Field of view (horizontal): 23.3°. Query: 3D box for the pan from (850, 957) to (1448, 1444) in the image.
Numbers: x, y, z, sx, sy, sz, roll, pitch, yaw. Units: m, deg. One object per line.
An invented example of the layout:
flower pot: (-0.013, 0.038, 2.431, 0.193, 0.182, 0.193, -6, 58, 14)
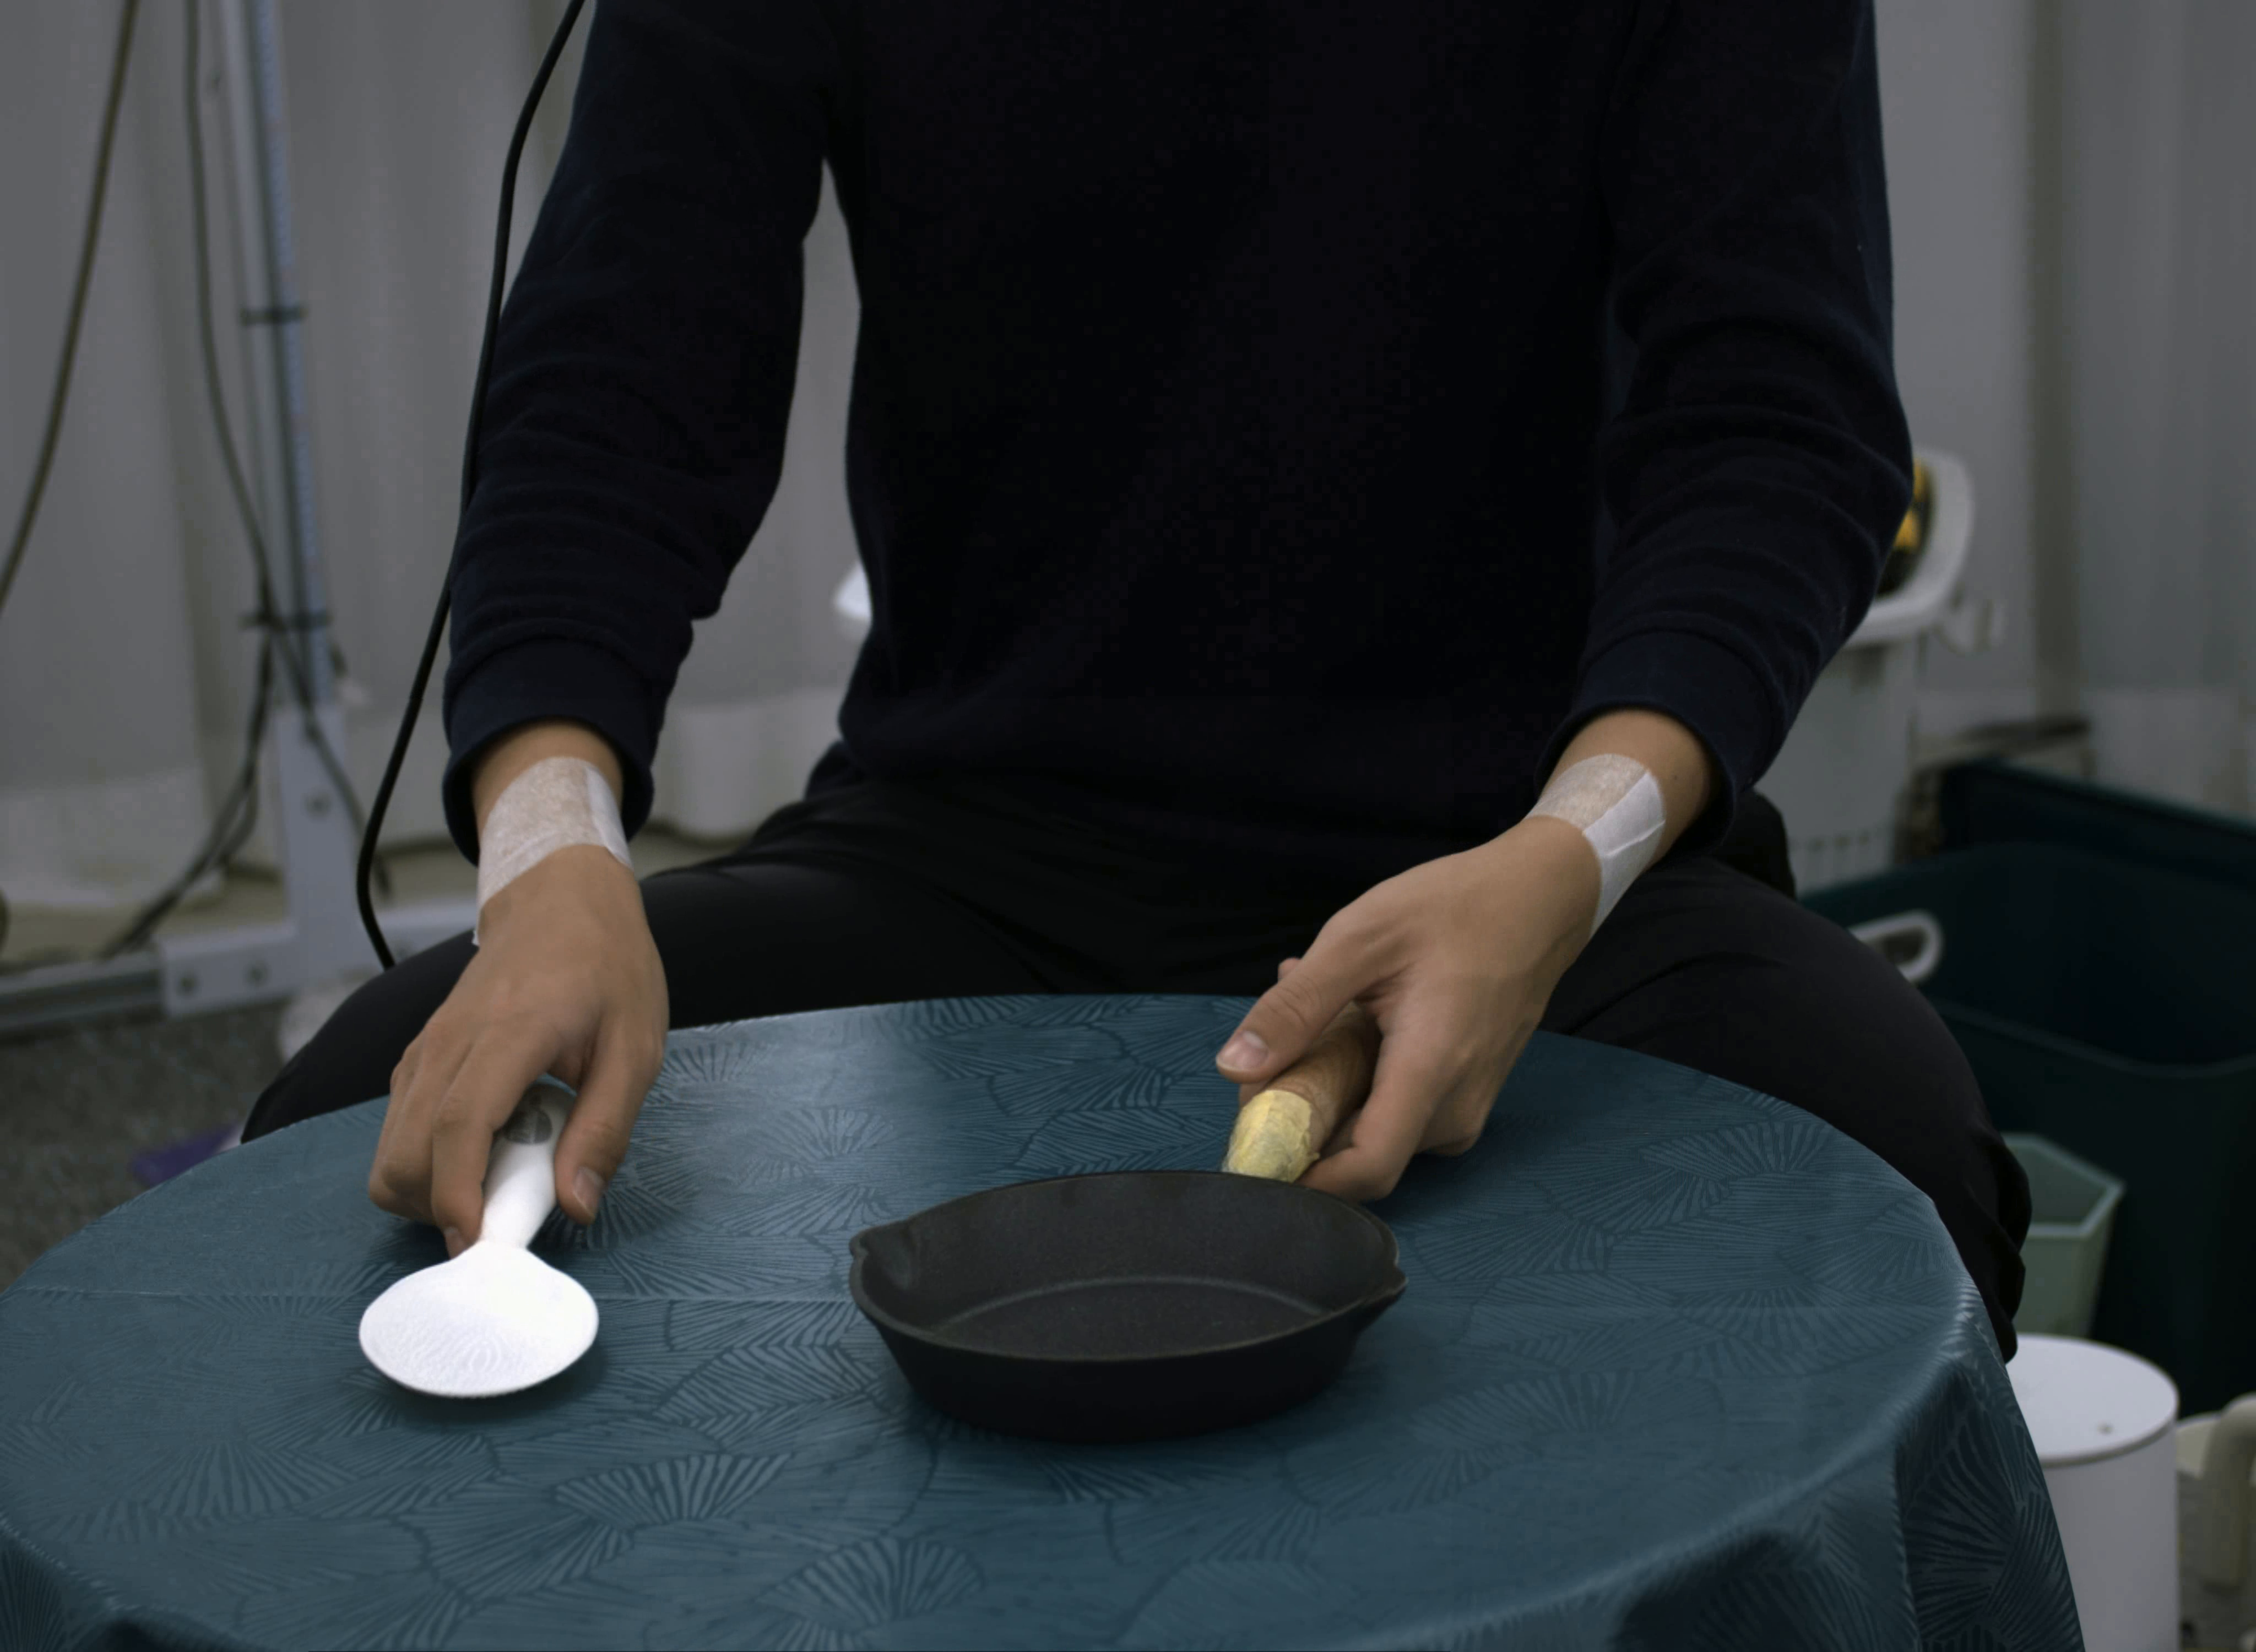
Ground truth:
pan: (0.034, 0.109, 1.634, 0.169, 0.049, 0.325, 4, 18, 25)

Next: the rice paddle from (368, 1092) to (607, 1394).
rice paddle: (-0.186, 0.127, 1.642, 0.068, 0.029, 0.207, 1, 17, 0)
